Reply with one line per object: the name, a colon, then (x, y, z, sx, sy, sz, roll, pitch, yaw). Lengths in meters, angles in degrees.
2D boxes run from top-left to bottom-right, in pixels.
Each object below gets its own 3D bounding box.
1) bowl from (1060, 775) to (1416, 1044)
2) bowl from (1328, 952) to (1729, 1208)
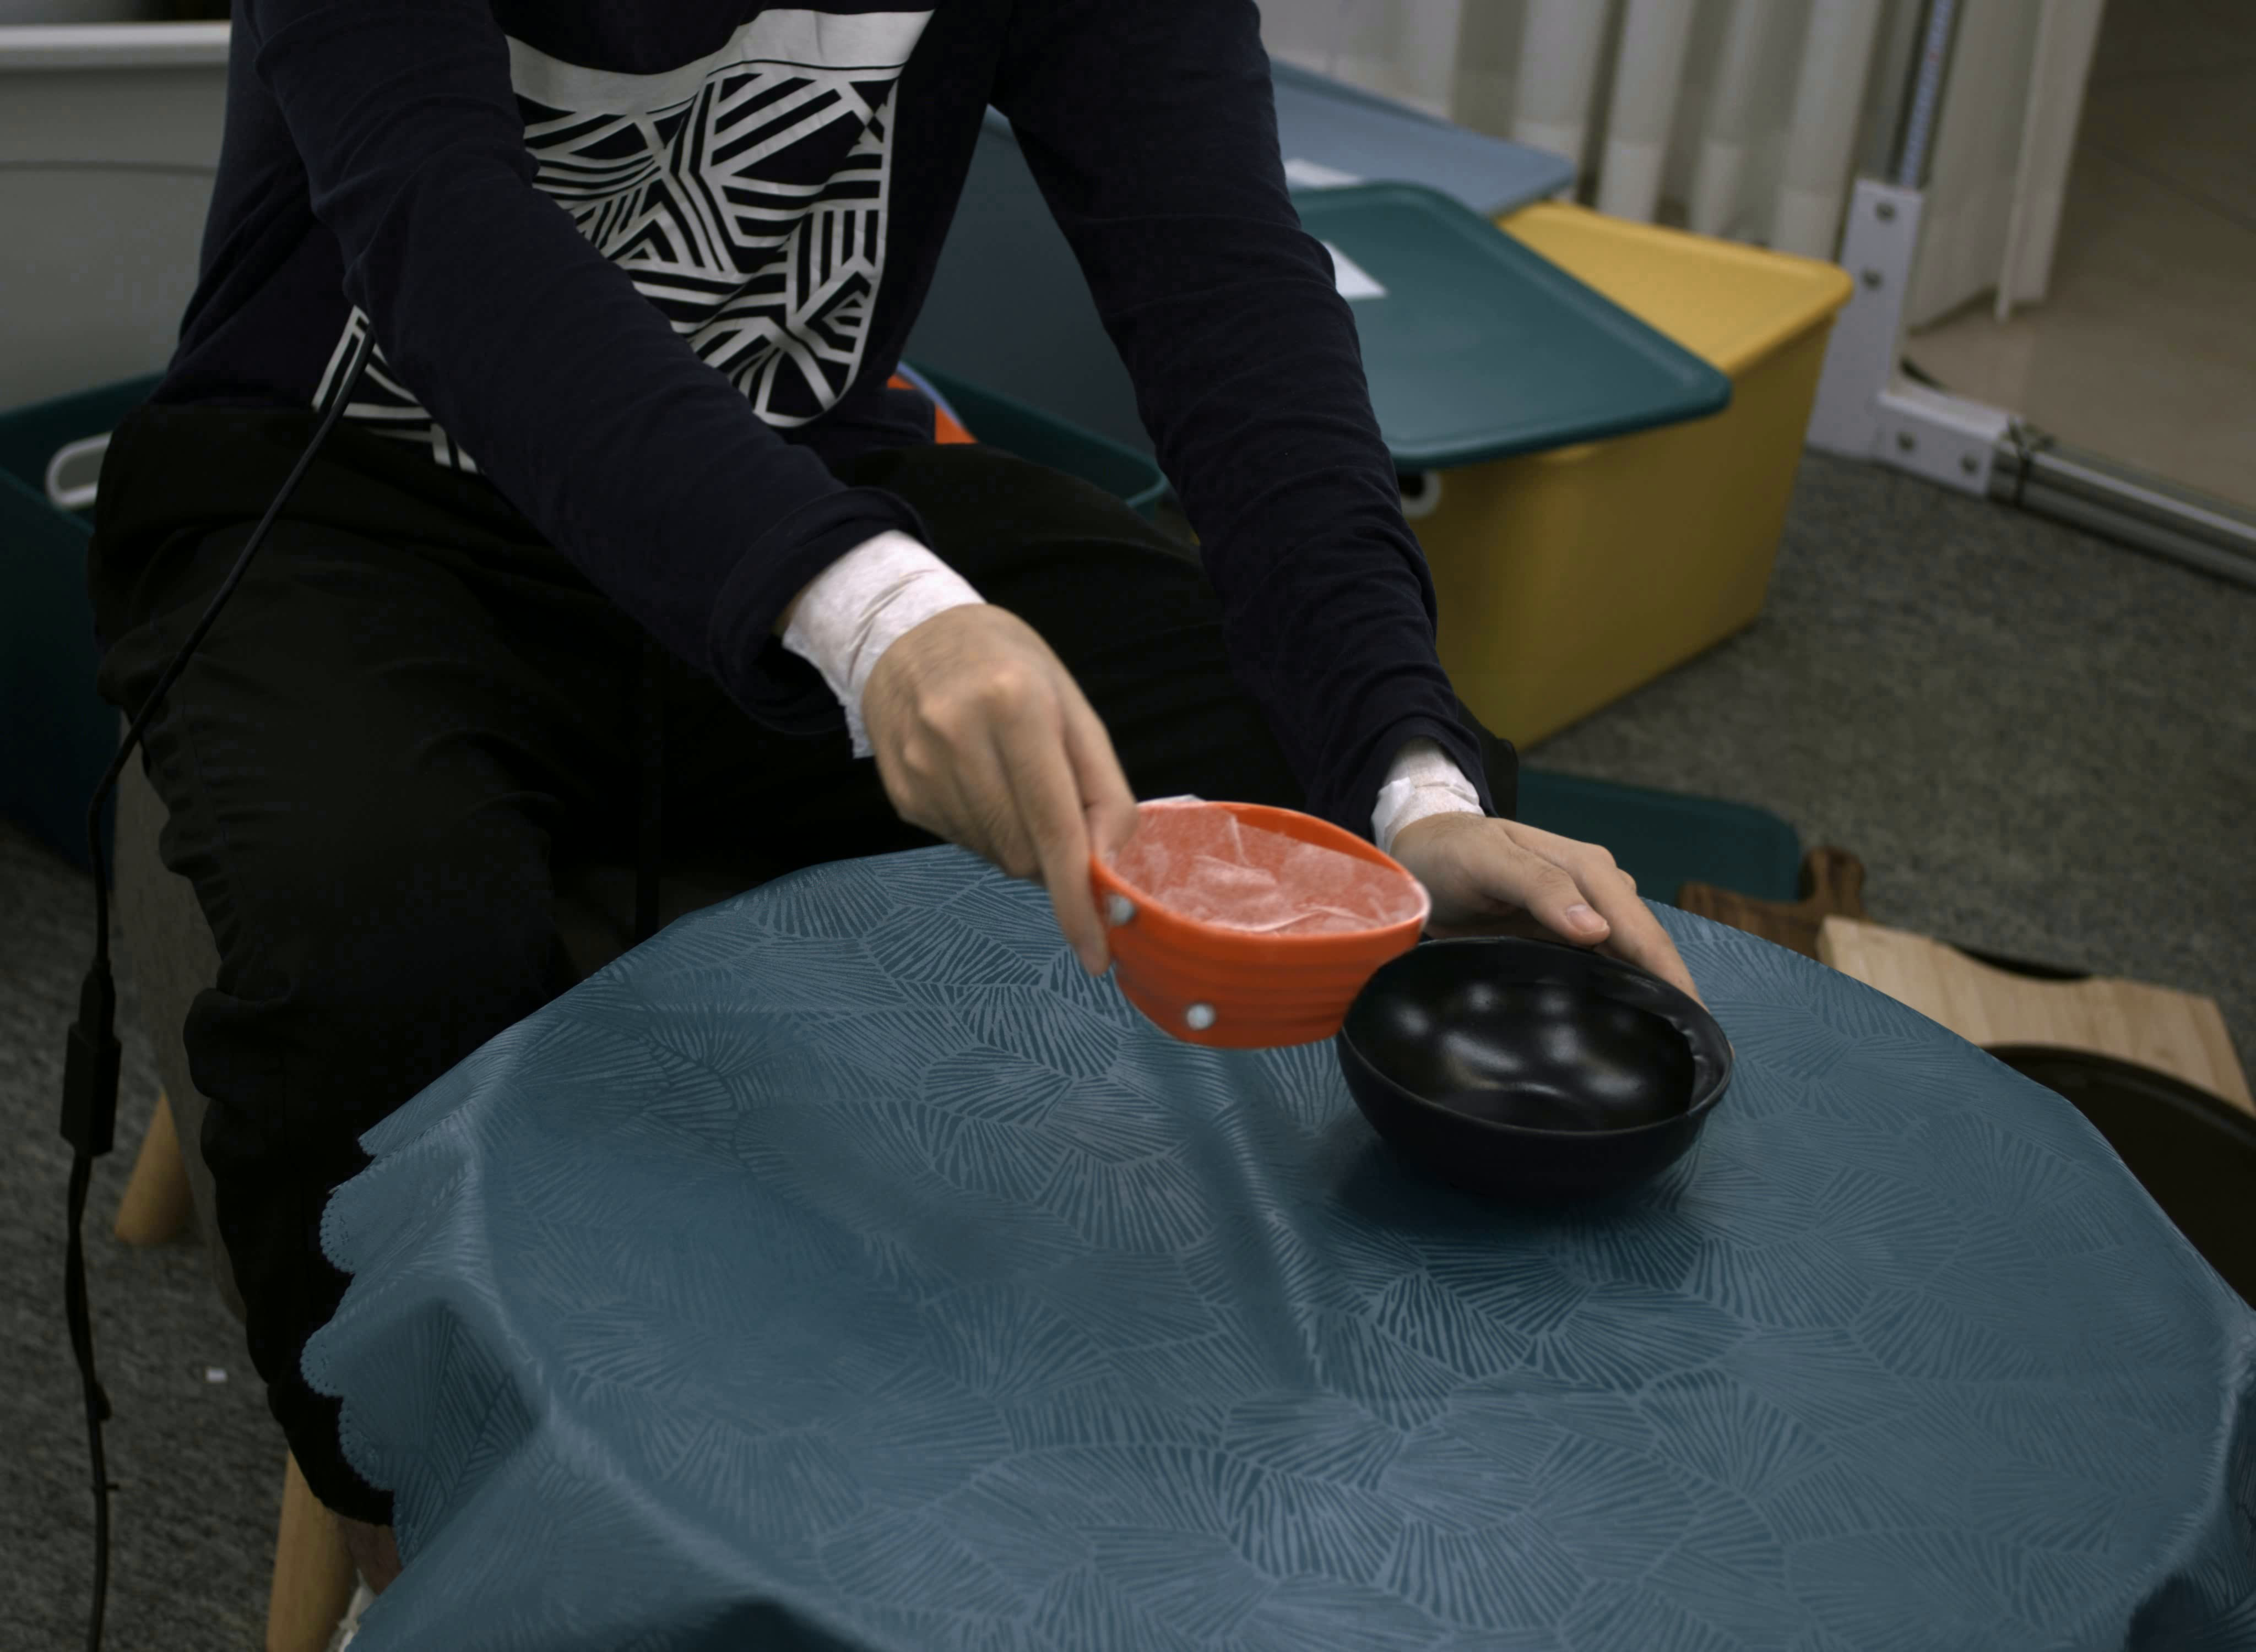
bowl: (0.034, 0.031, 1.739, 0.118, 0.051, 0.119, 4, 29, -3)
bowl: (0.137, 0.095, 1.846, 0.139, 0.049, 0.141, 3, 23, -2)
